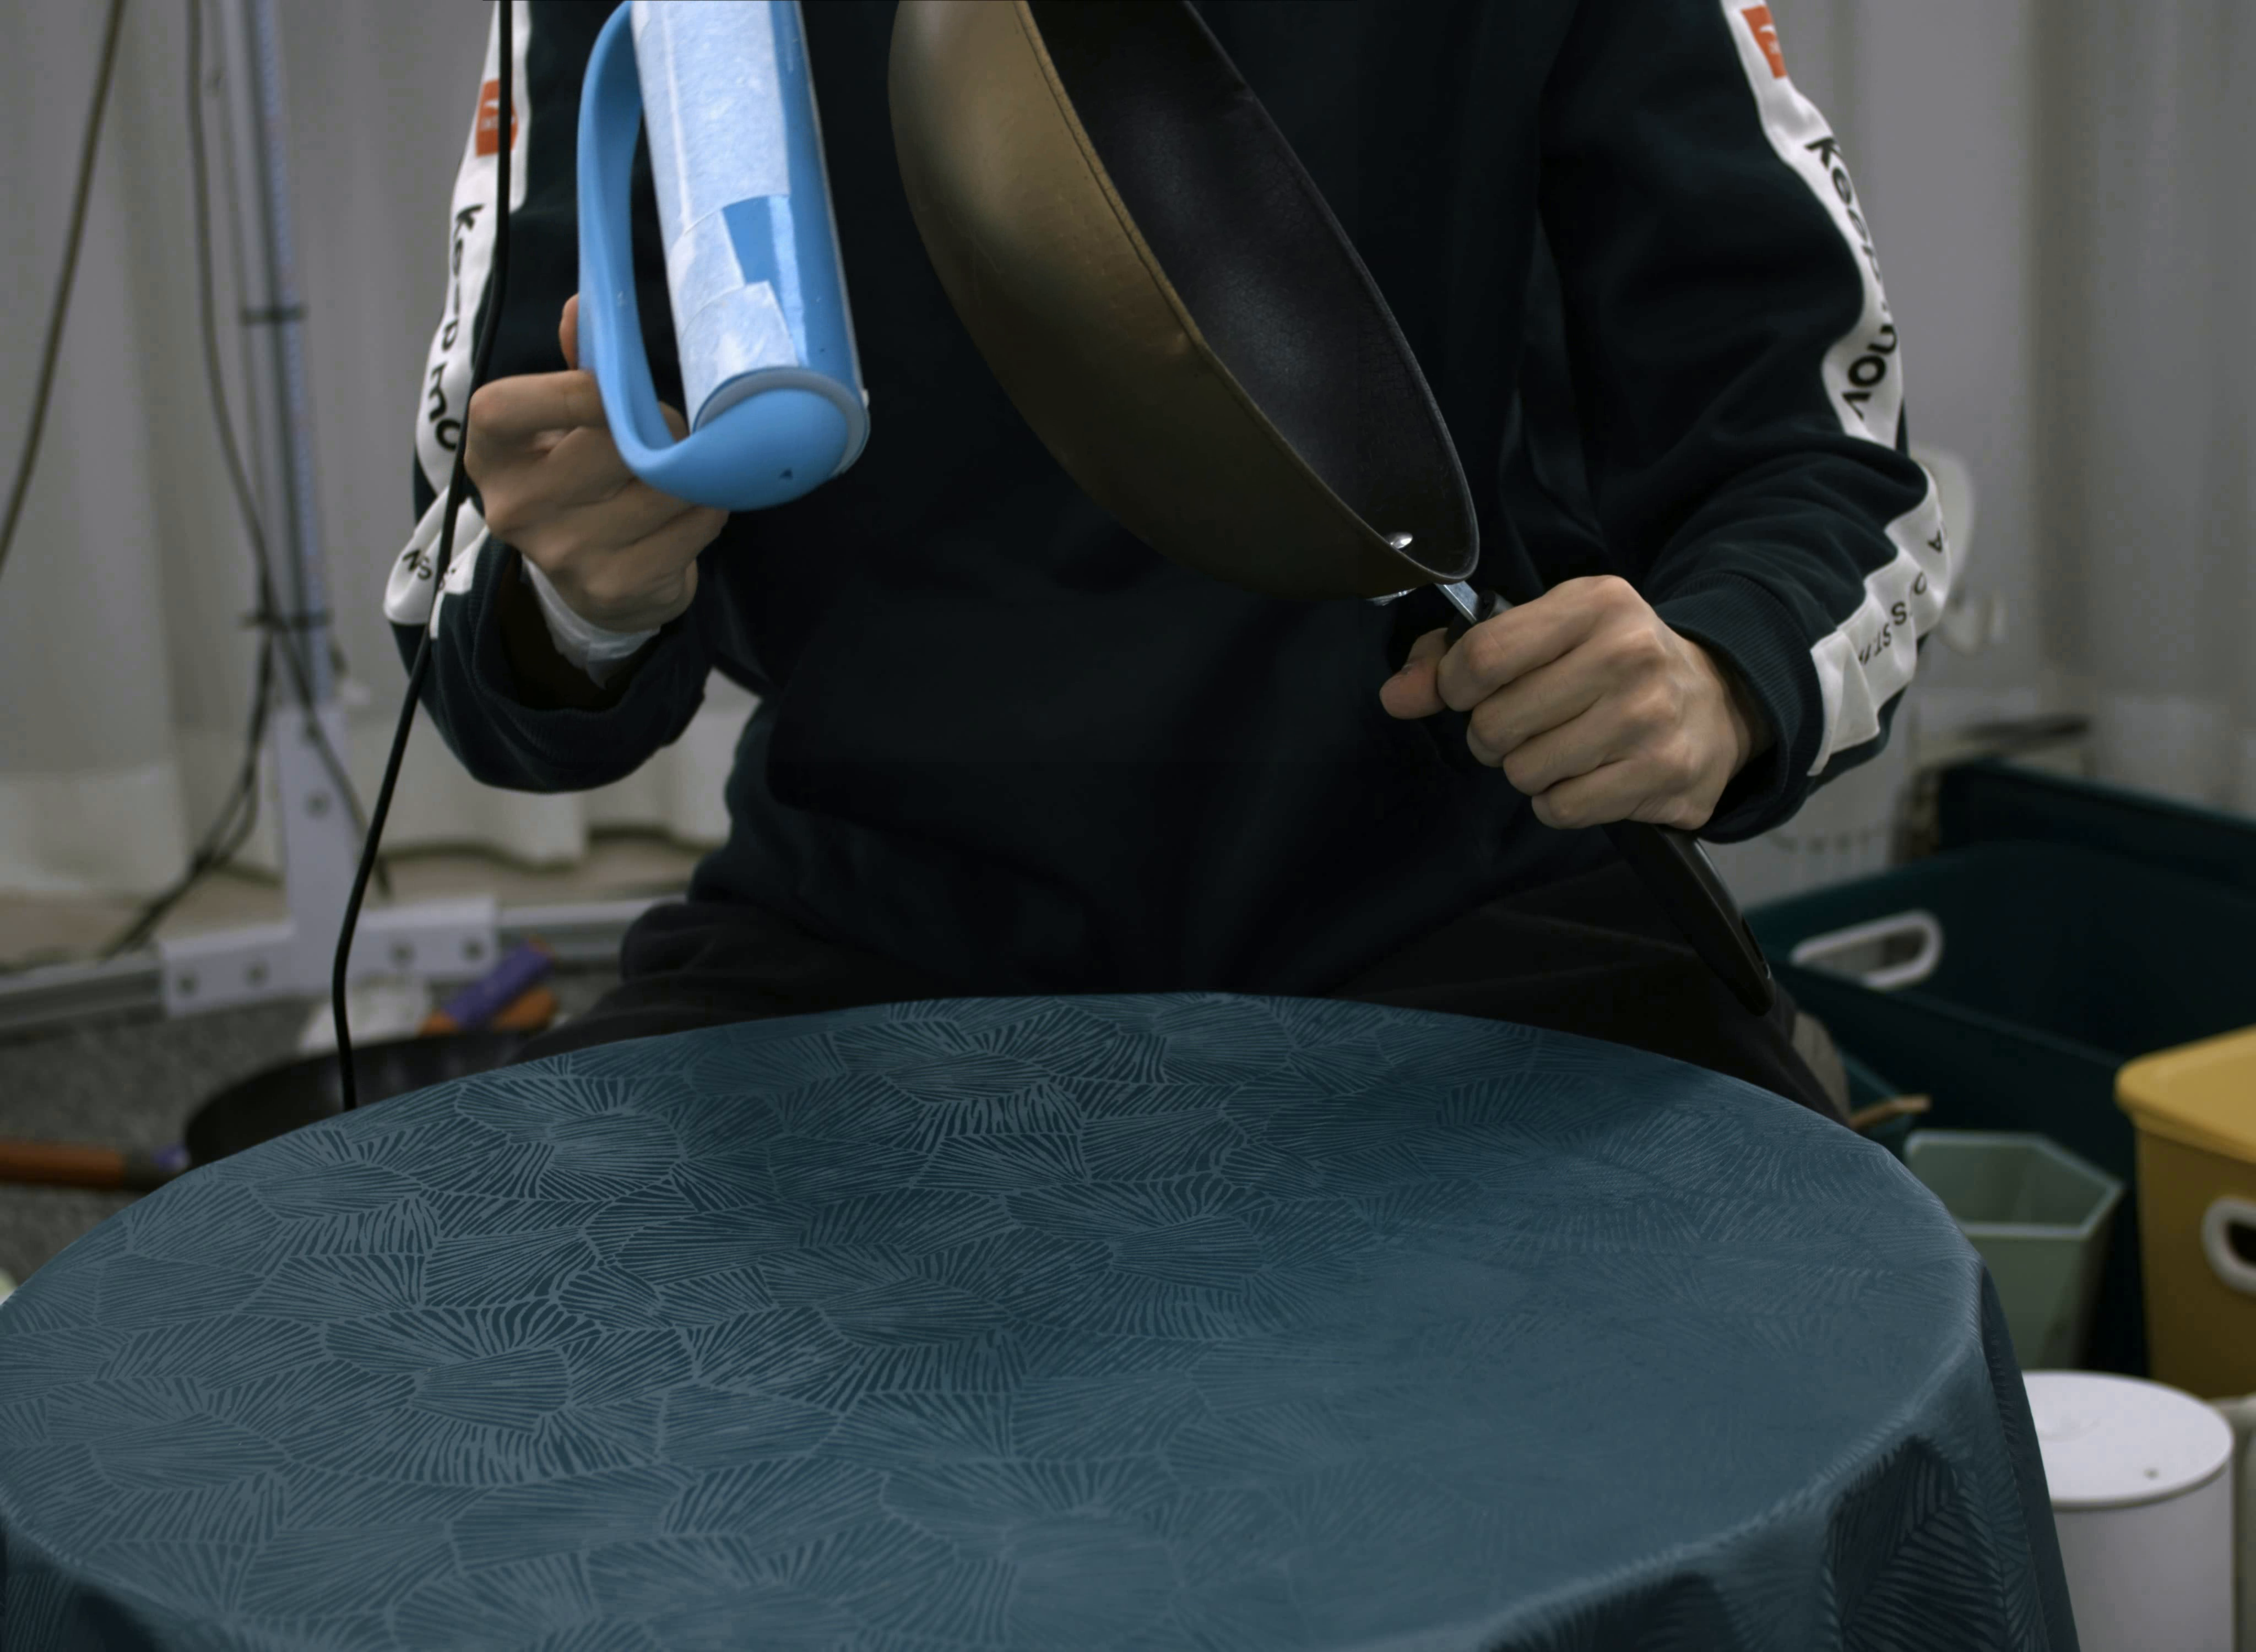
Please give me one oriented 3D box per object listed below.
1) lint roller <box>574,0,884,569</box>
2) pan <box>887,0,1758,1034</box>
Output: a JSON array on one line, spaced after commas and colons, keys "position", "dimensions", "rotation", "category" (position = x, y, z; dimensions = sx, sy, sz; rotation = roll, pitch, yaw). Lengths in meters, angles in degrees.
[{"position": [-0.142, -0.150, 1.726], "dimensions": [0.067, 0.179, 0.232], "rotation": [9, 42, -26], "category": "lint roller"}, {"position": [0.053, -0.107, 1.774], "dimensions": [0.086, 0.461, 0.290], "rotation": [-31, 15, 15], "category": "pan"}]
